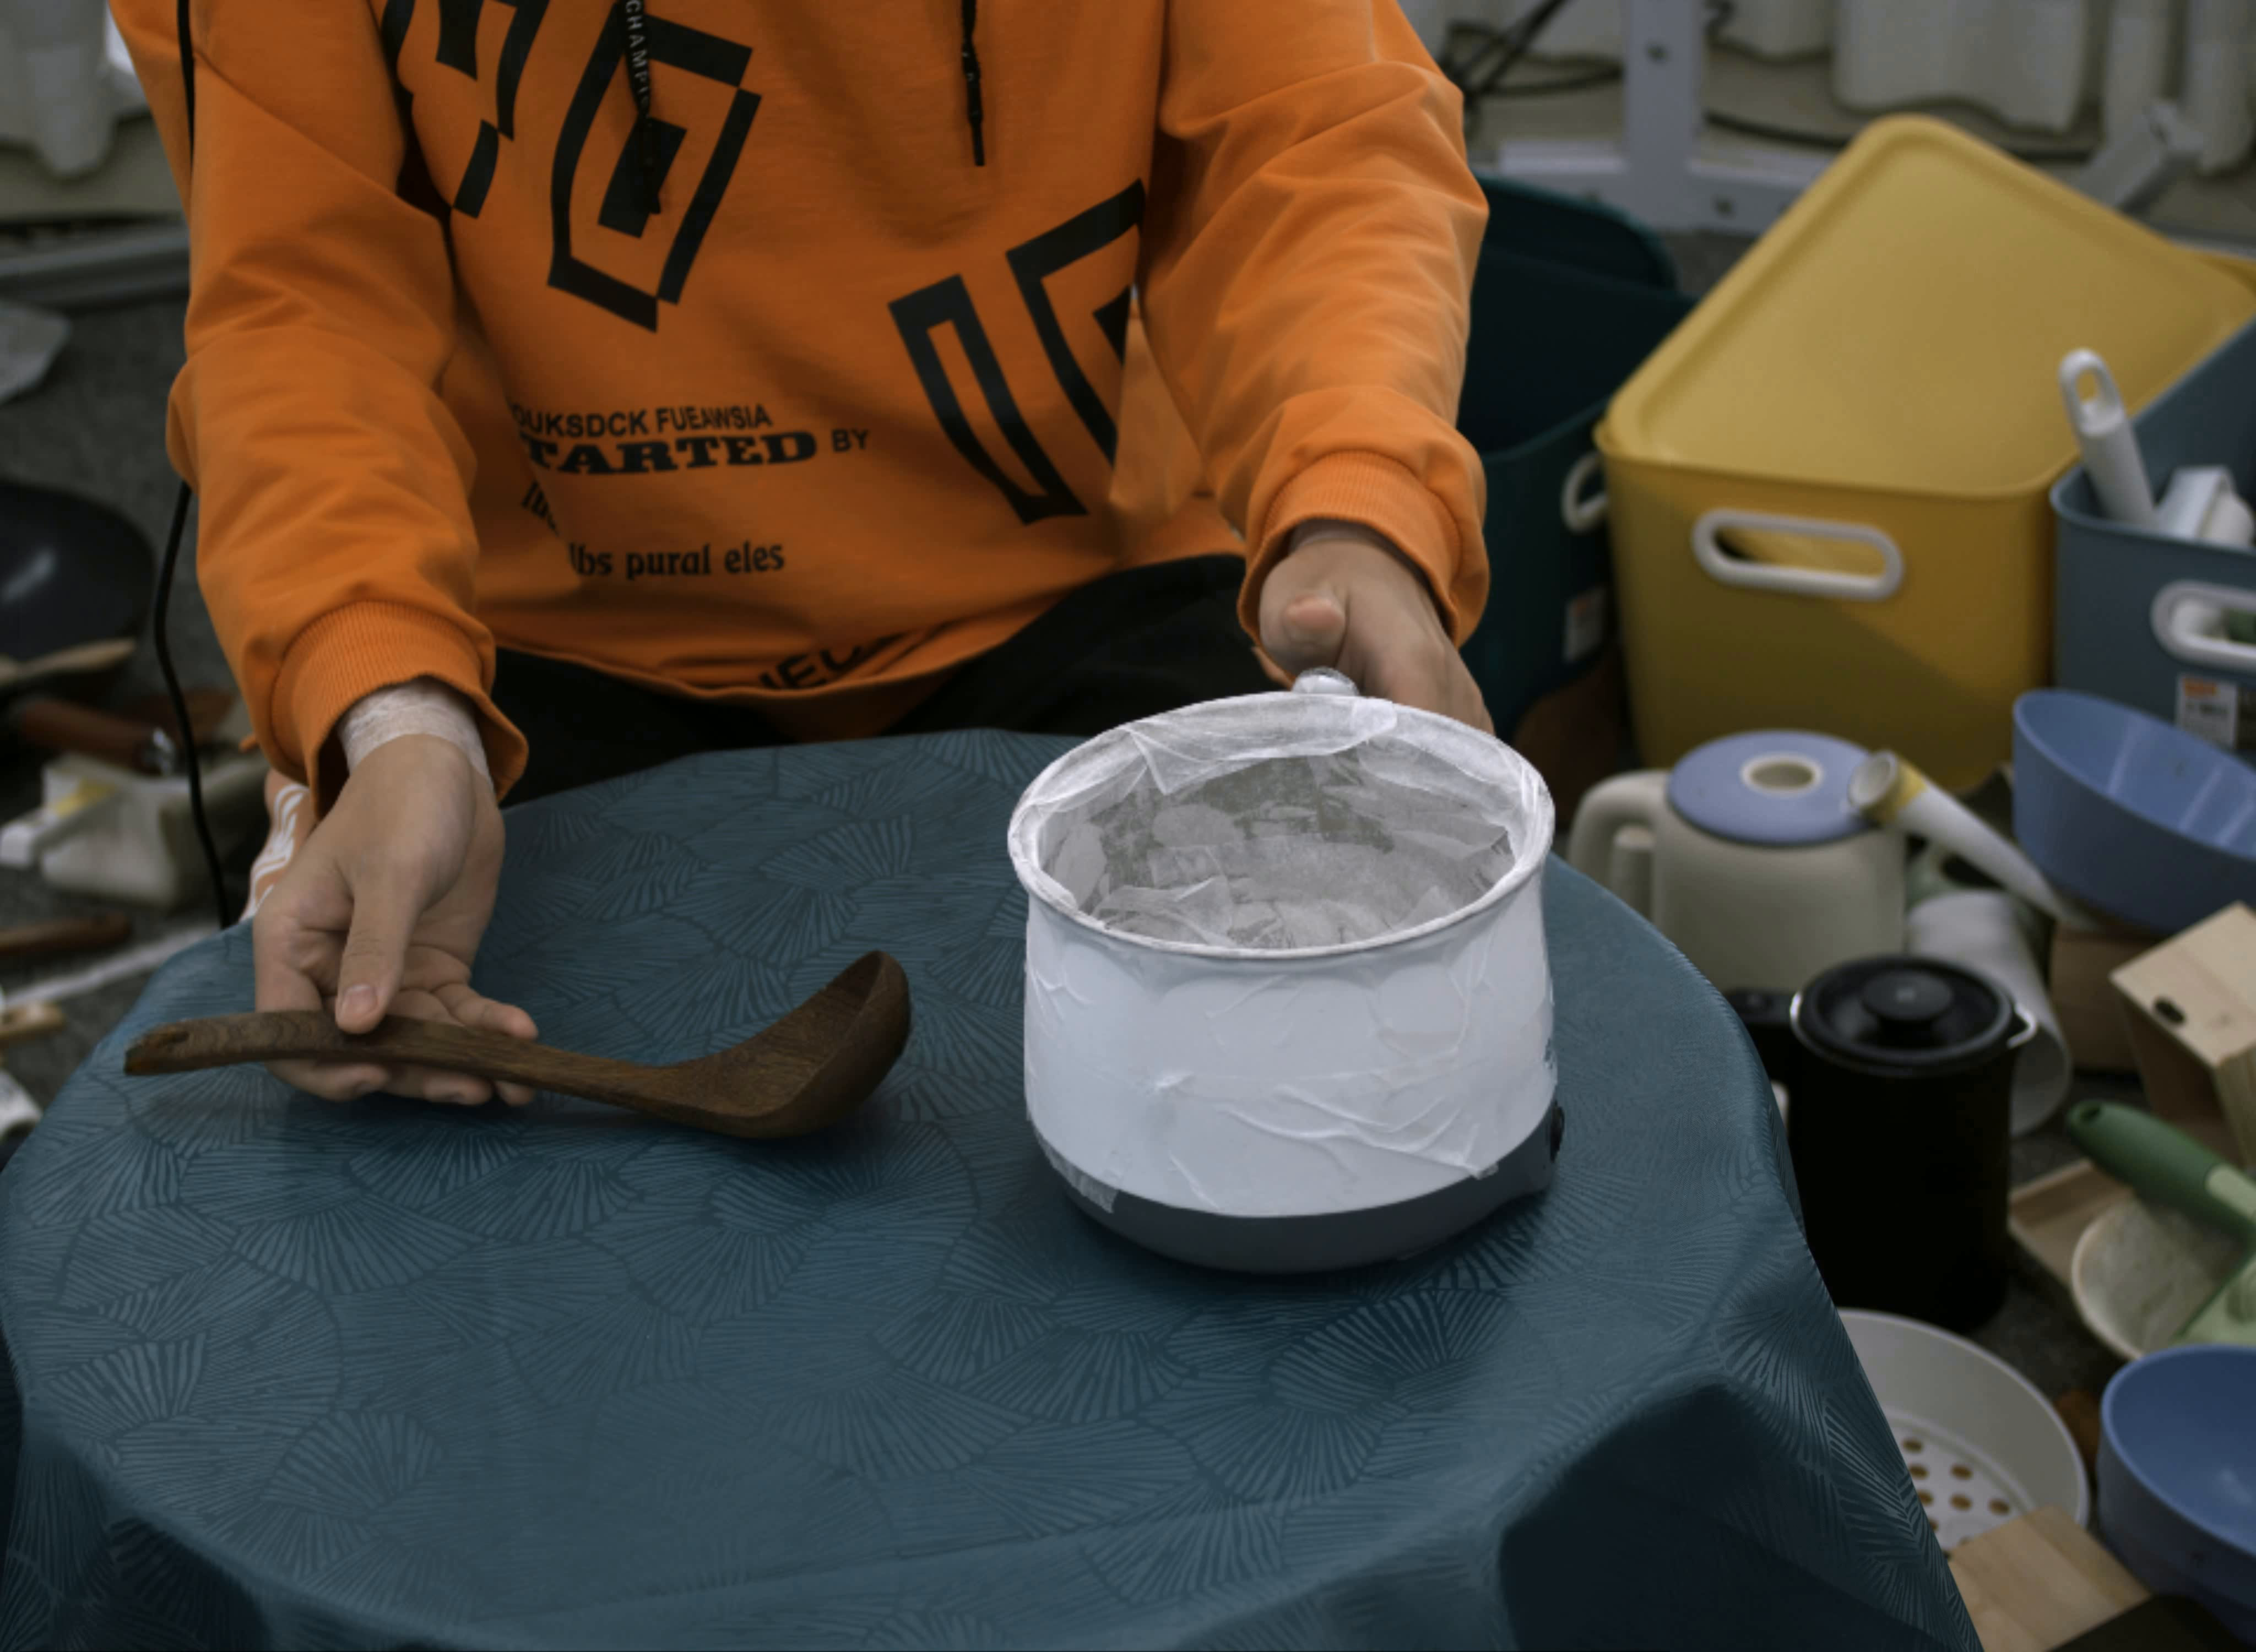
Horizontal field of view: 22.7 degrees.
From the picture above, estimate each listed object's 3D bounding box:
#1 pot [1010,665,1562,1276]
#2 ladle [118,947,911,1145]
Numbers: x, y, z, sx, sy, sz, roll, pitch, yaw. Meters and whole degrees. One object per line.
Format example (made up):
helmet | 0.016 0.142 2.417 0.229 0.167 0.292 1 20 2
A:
pot | 0.056 0.040 1.866 0.177 0.135 0.237 2 28 8
ladle | -0.209 0.065 1.905 0.272 0.070 0.077 6 27 5
